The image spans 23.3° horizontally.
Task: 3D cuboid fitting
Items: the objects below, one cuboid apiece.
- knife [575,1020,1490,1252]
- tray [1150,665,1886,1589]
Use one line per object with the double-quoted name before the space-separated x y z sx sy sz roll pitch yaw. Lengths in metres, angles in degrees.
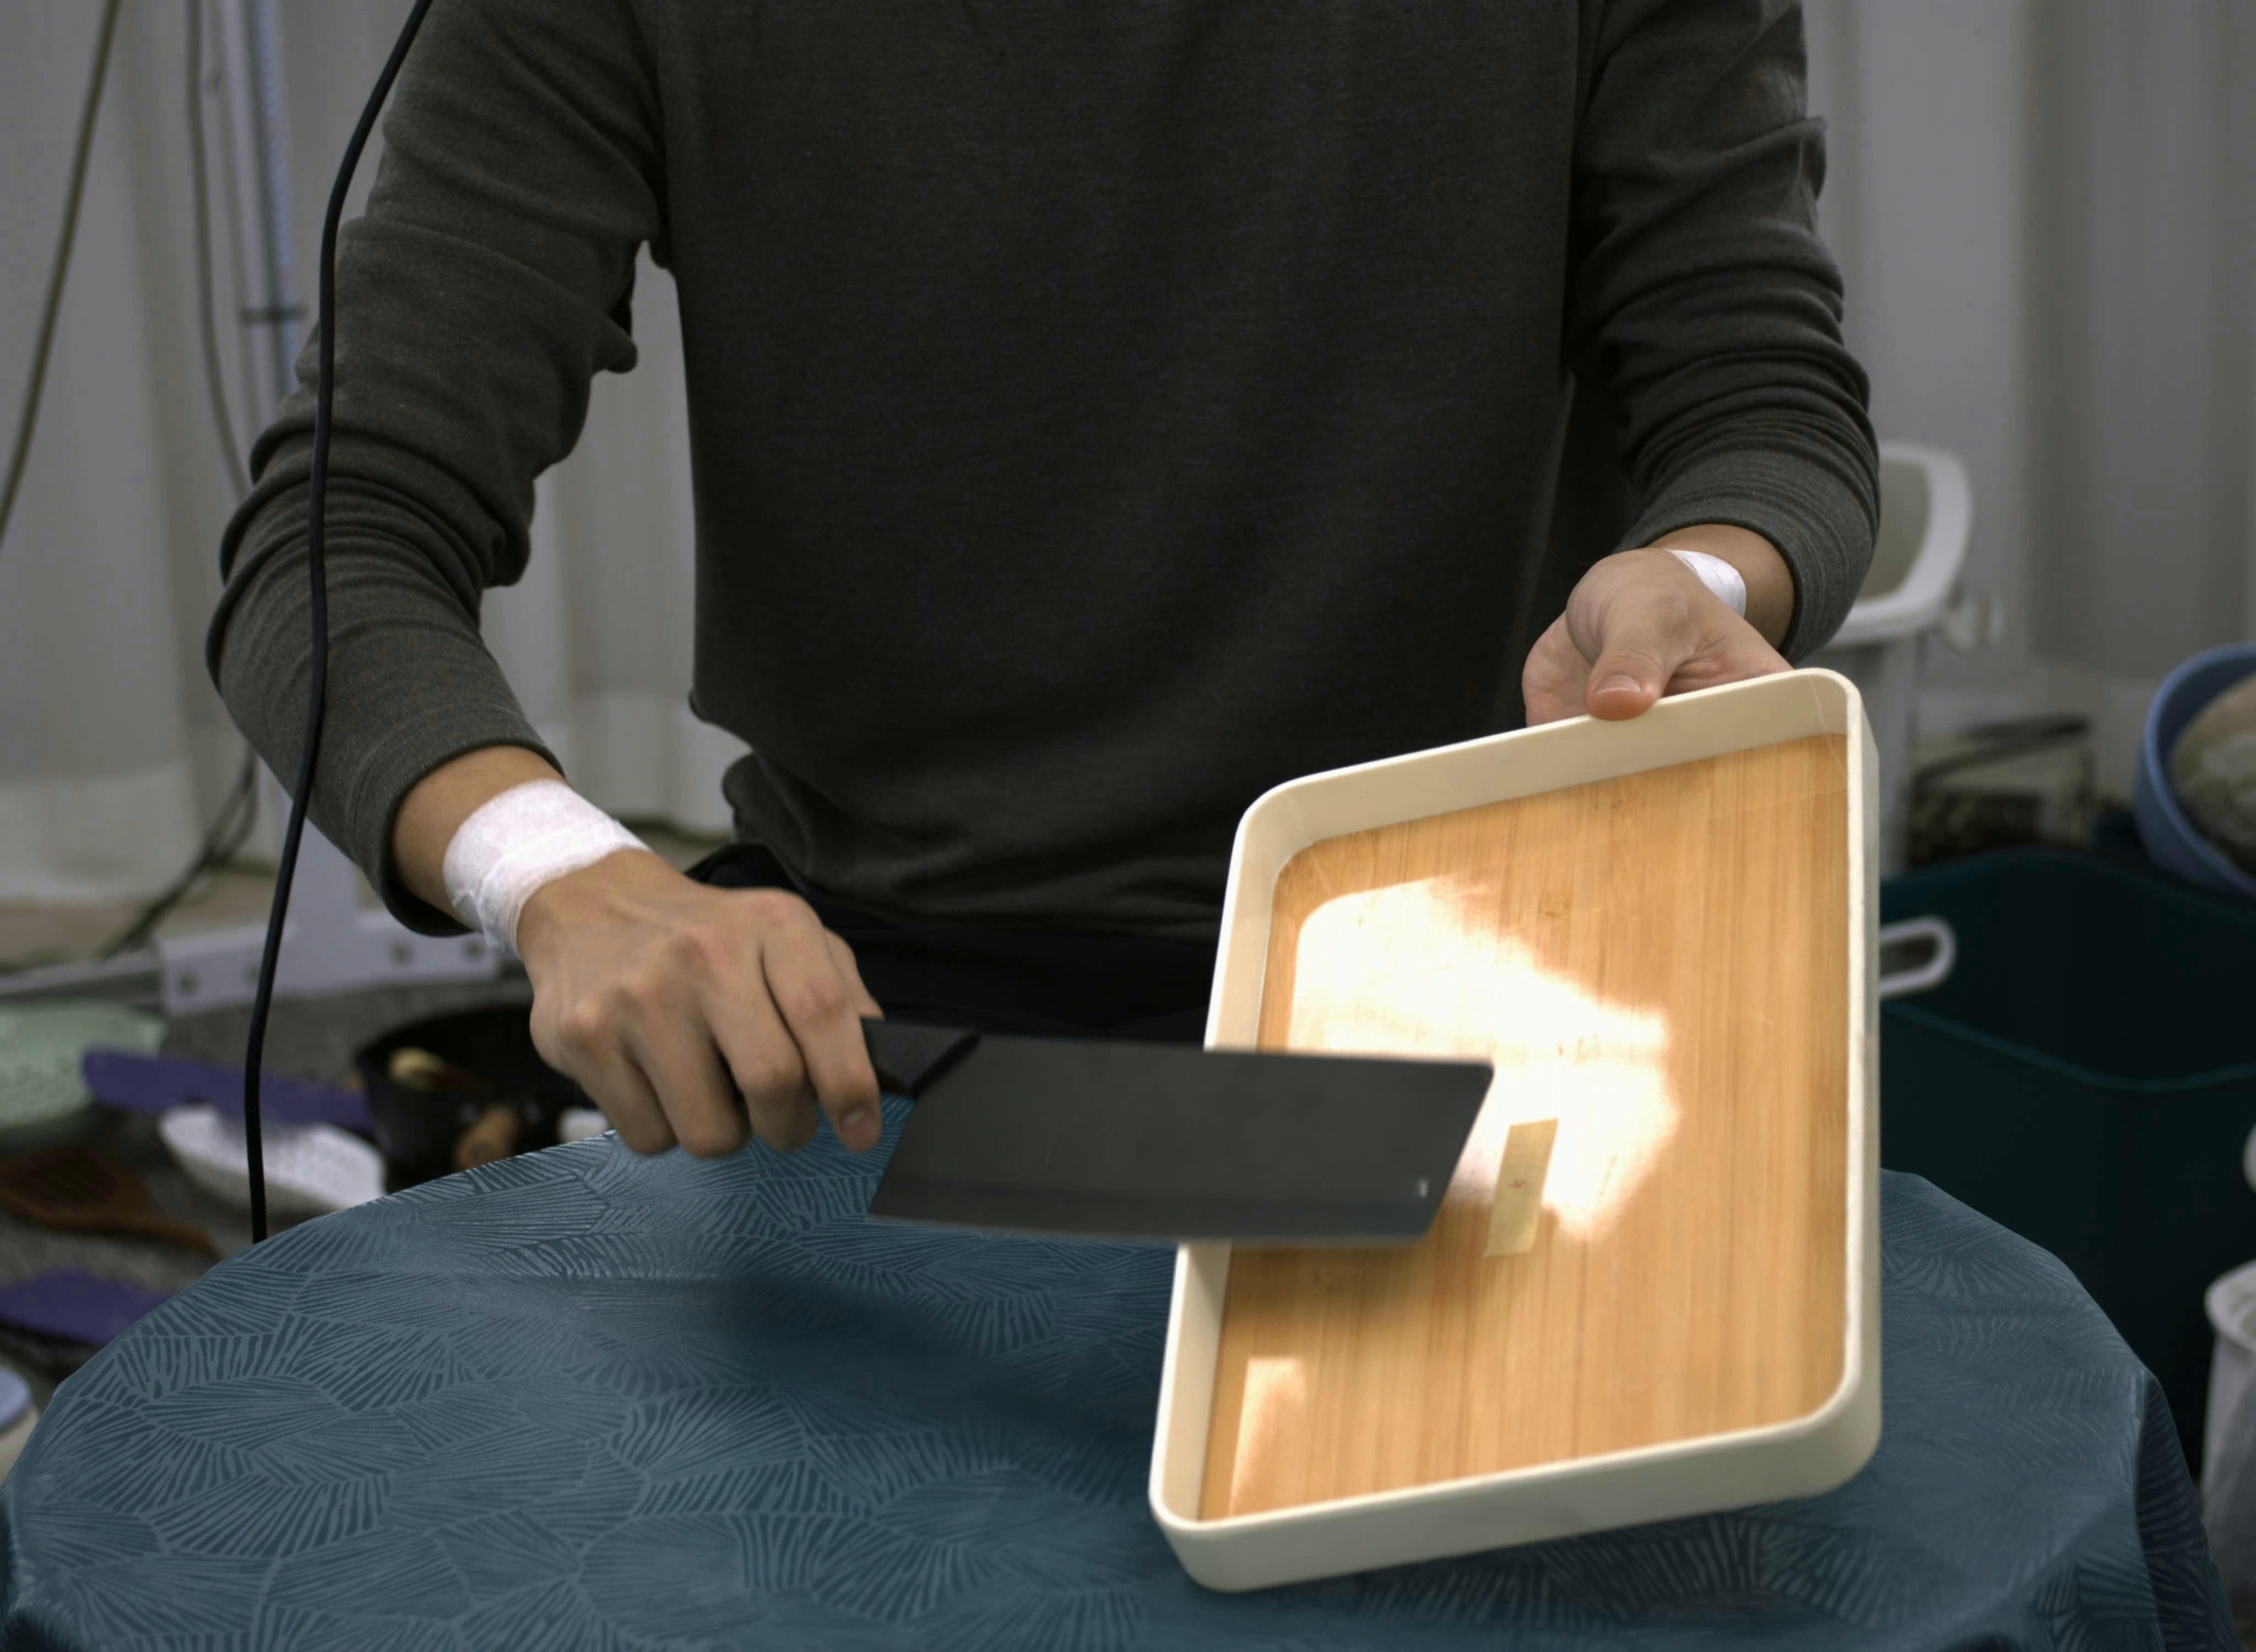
"knife" -0.036 0.085 1.530 0.303 0.020 0.082 5 52 37
"tray" 0.111 0.076 1.484 0.191 0.027 0.304 -12 37 17
